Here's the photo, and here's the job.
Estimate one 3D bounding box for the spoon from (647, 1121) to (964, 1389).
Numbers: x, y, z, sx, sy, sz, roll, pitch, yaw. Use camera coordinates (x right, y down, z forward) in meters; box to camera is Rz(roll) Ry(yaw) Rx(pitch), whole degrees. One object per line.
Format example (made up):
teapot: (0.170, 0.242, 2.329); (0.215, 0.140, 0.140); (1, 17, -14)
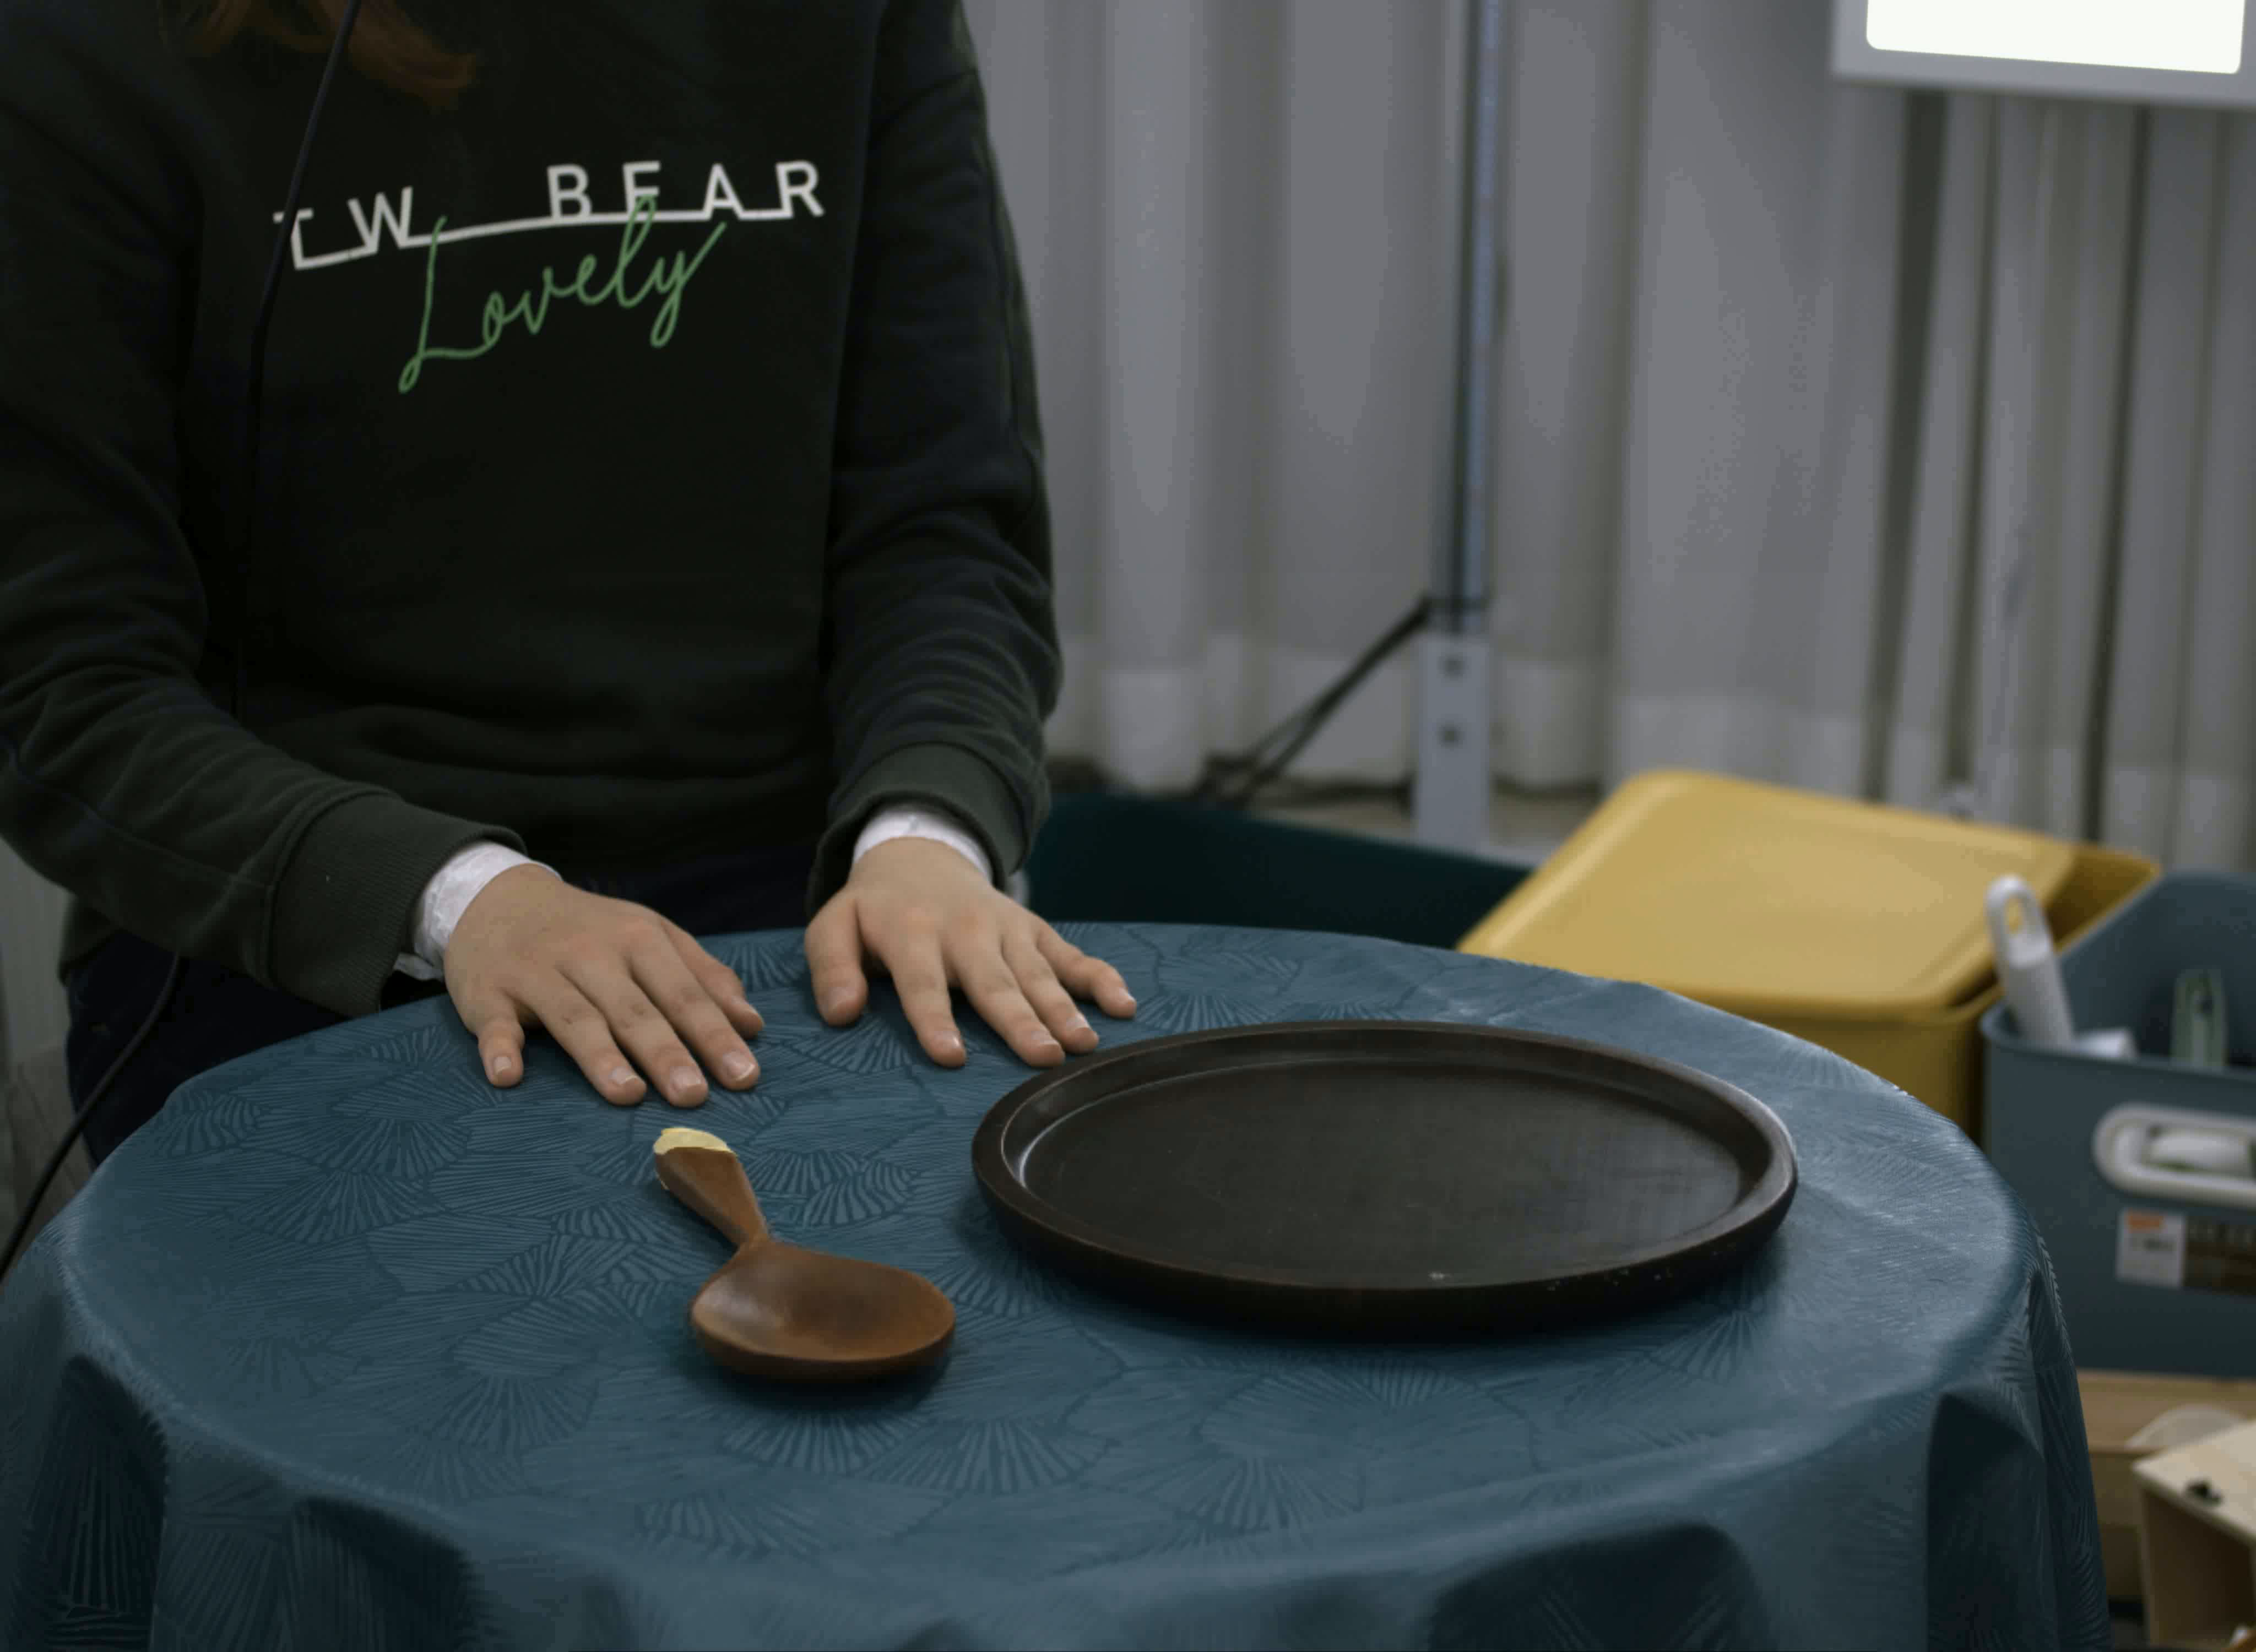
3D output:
spoon: (-0.105, 0.126, 1.543); (0.075, 0.017, 0.213); (-5, 17, -18)

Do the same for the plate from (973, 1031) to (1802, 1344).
plate: (0.079, 0.107, 1.609); (0.254, 0.029, 0.253); (2, 16, 0)
